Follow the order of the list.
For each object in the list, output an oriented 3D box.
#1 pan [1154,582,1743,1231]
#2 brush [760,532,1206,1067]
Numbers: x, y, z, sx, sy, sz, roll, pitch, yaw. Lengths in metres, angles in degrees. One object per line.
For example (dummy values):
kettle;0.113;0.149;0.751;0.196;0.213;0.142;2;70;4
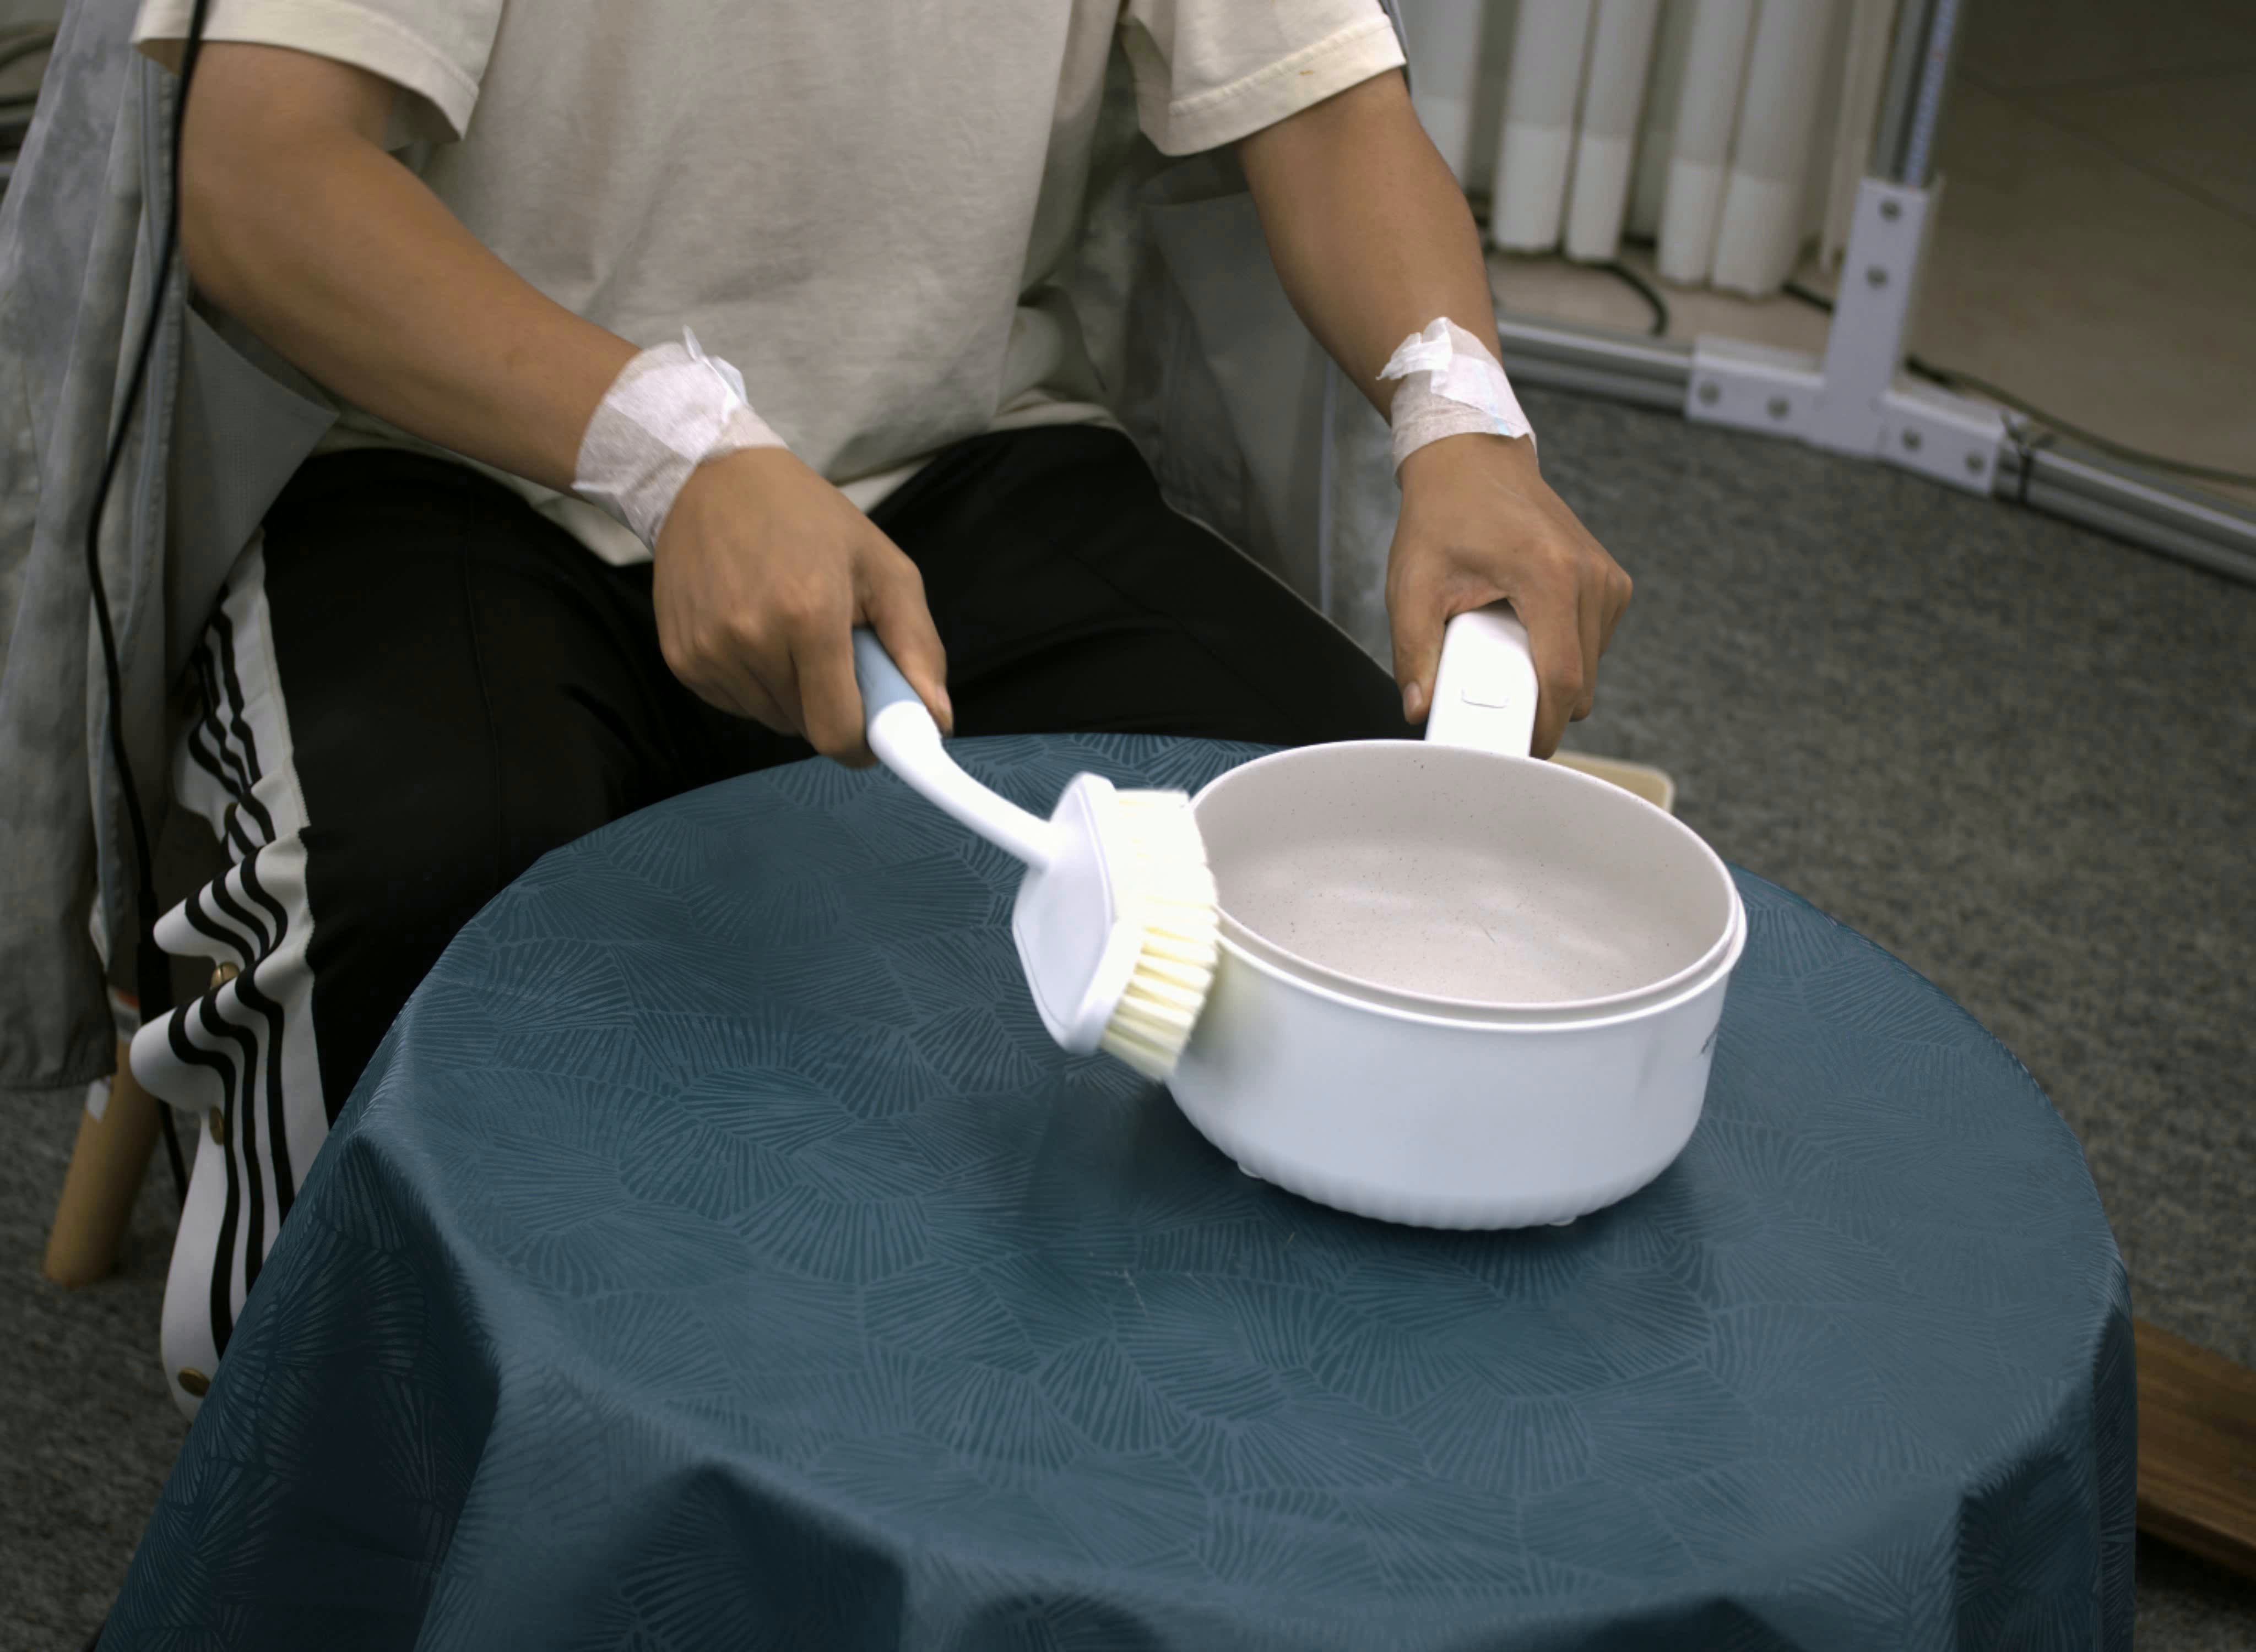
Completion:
pan;0.117;0.025;1.914;0.201;0.102;0.356;8;26;4
brush;-0.038;-0.018;1.876;0.083;0.084;0.328;-35;38;0
